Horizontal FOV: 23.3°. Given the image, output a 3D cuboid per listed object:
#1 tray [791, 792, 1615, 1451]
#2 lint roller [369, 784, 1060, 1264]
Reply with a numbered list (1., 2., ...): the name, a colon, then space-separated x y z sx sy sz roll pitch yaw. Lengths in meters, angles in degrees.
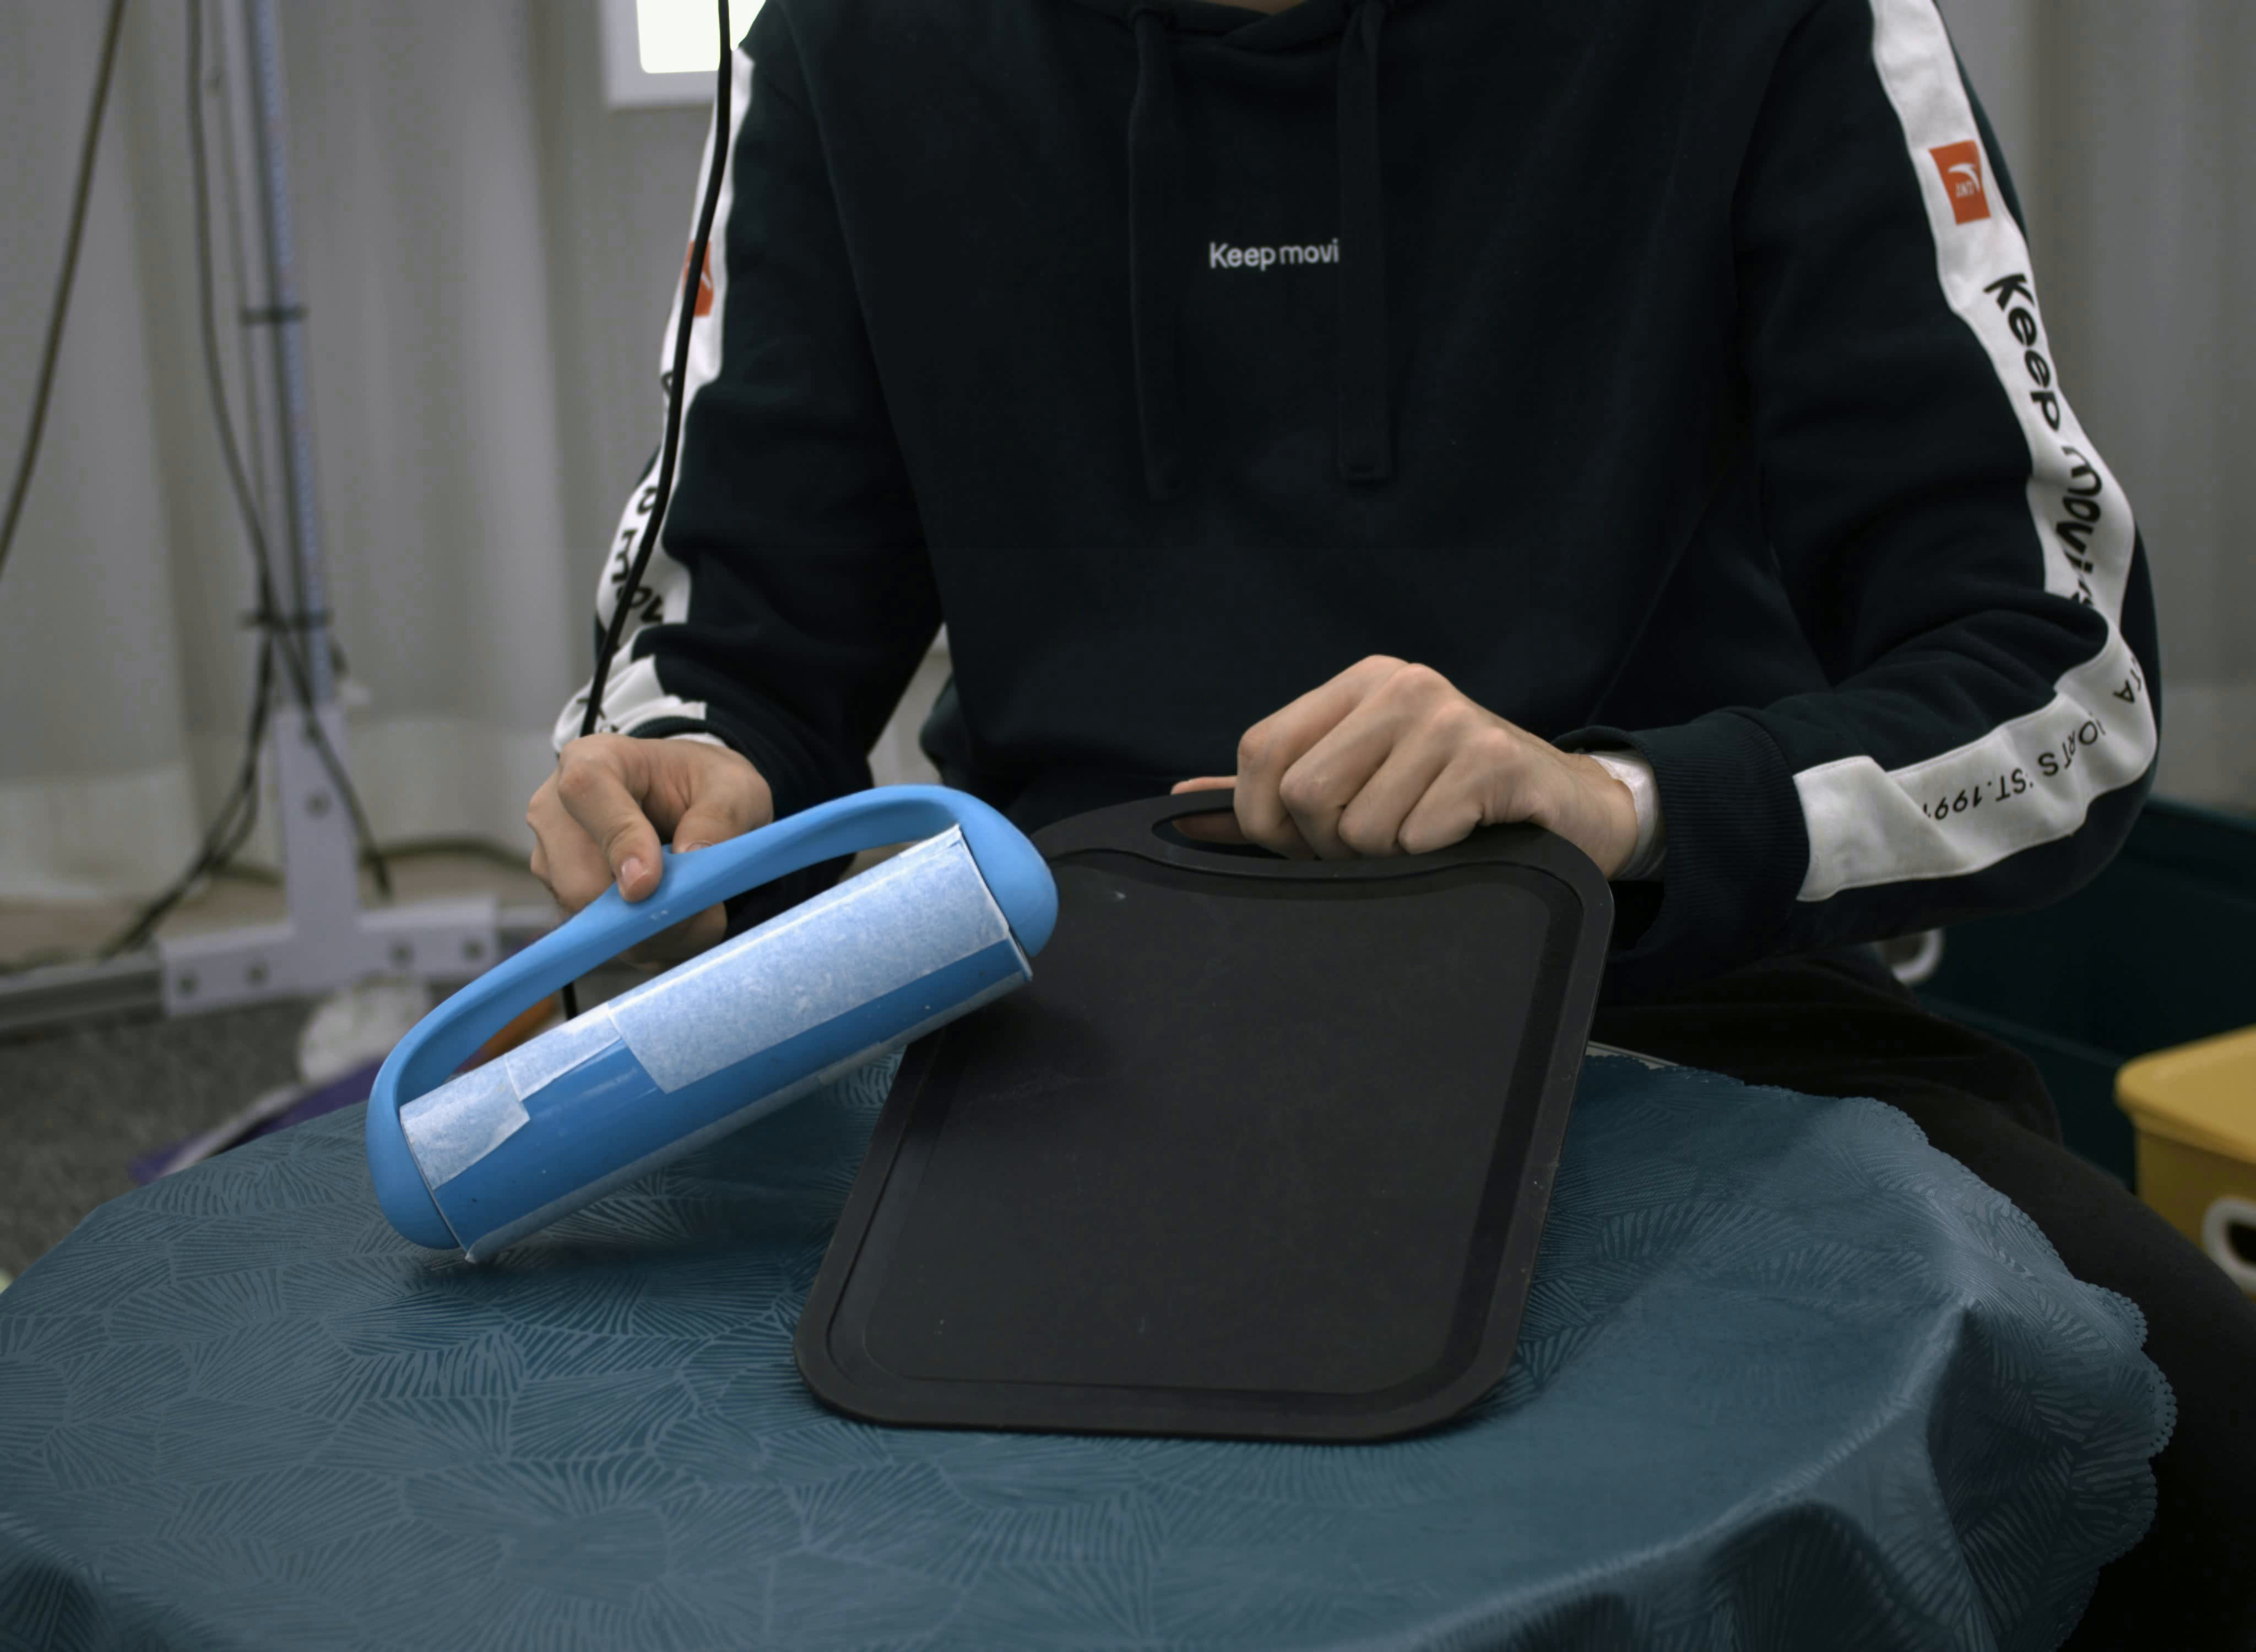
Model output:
1. tray: 0.029 0.078 1.641 0.211 0.009 0.329 1 34 14
2. lint roller: -0.141 0.043 1.727 0.228 0.067 0.182 -29 27 -3
